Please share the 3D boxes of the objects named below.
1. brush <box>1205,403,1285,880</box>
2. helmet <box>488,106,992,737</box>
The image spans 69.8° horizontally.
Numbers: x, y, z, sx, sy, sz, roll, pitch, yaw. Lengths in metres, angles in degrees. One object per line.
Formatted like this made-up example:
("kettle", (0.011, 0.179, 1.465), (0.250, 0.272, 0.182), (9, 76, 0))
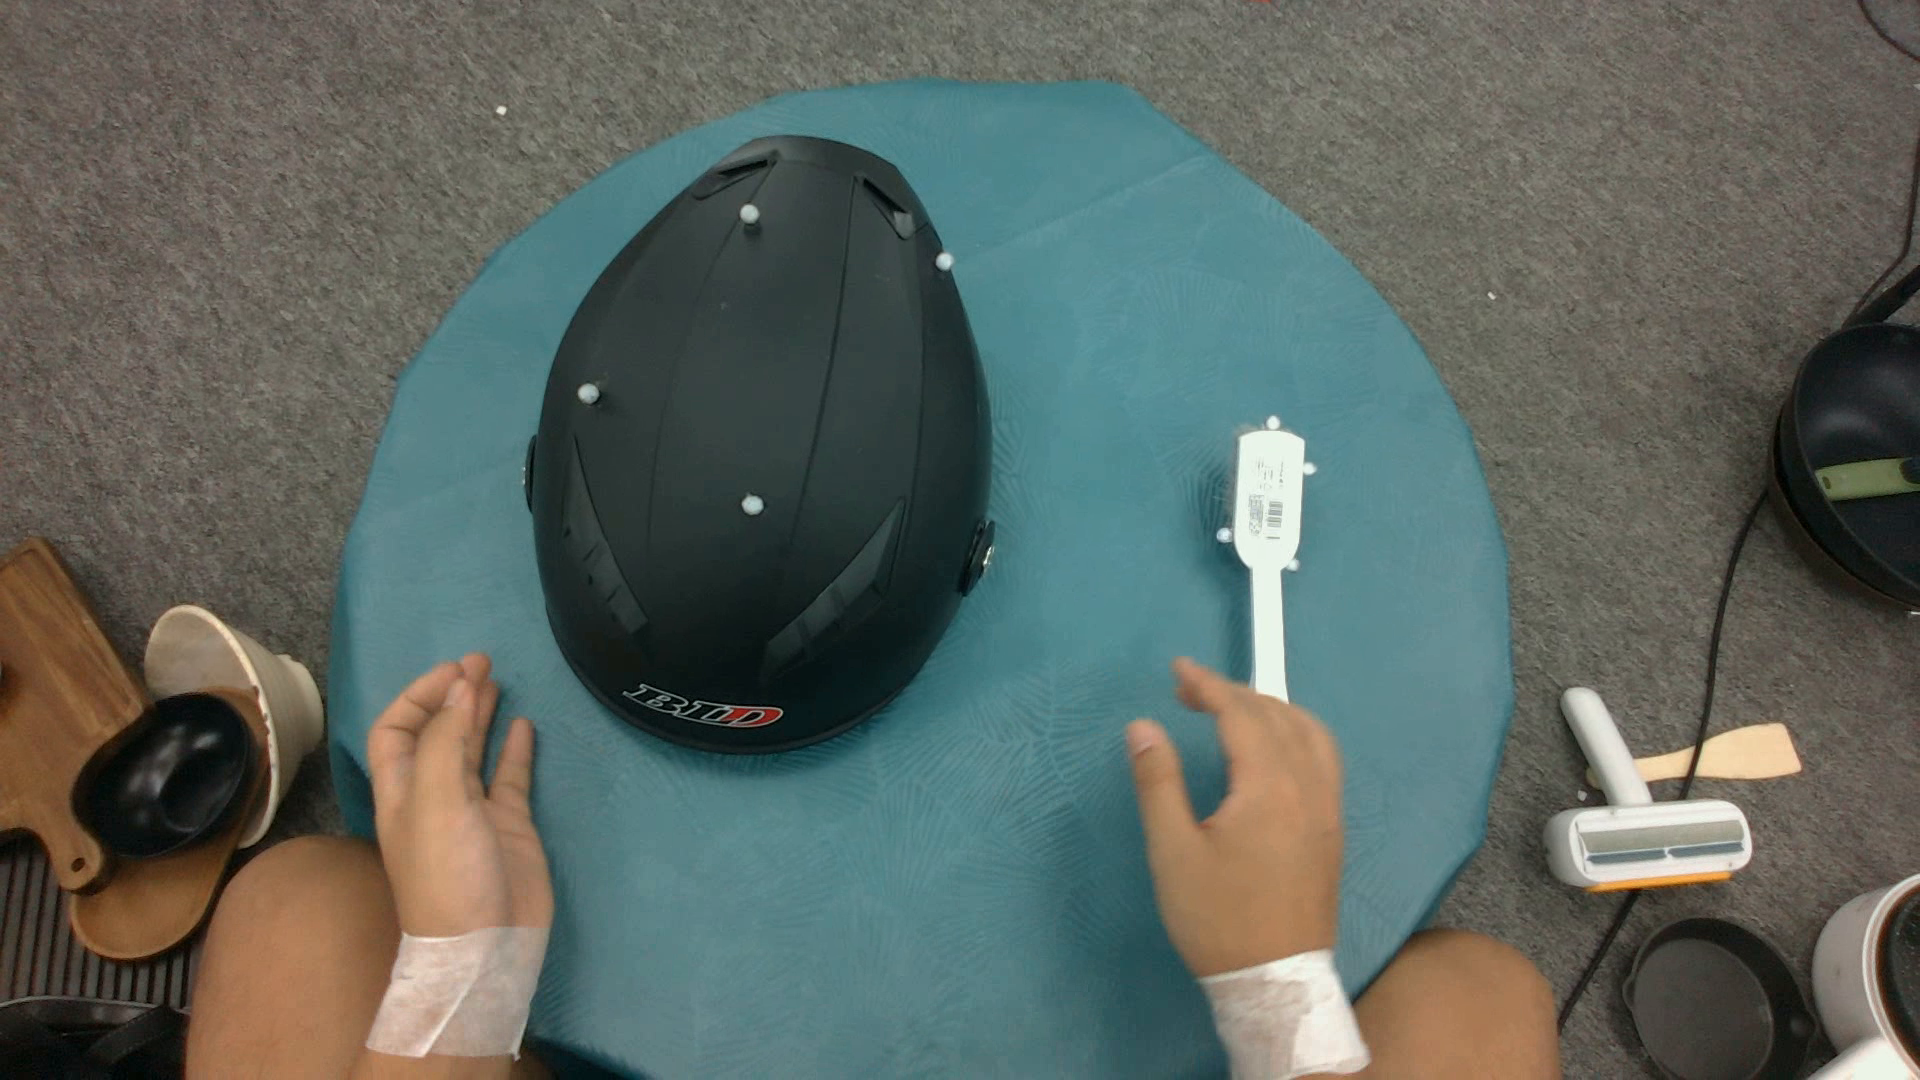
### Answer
("brush", (0.146, 0.046, 0.698), (0.034, 0.050, 0.244), (0, 79, 2))
("helmet", (-0.103, -0.061, 0.644), (0.247, 0.171, 0.278), (12, 64, 0))
